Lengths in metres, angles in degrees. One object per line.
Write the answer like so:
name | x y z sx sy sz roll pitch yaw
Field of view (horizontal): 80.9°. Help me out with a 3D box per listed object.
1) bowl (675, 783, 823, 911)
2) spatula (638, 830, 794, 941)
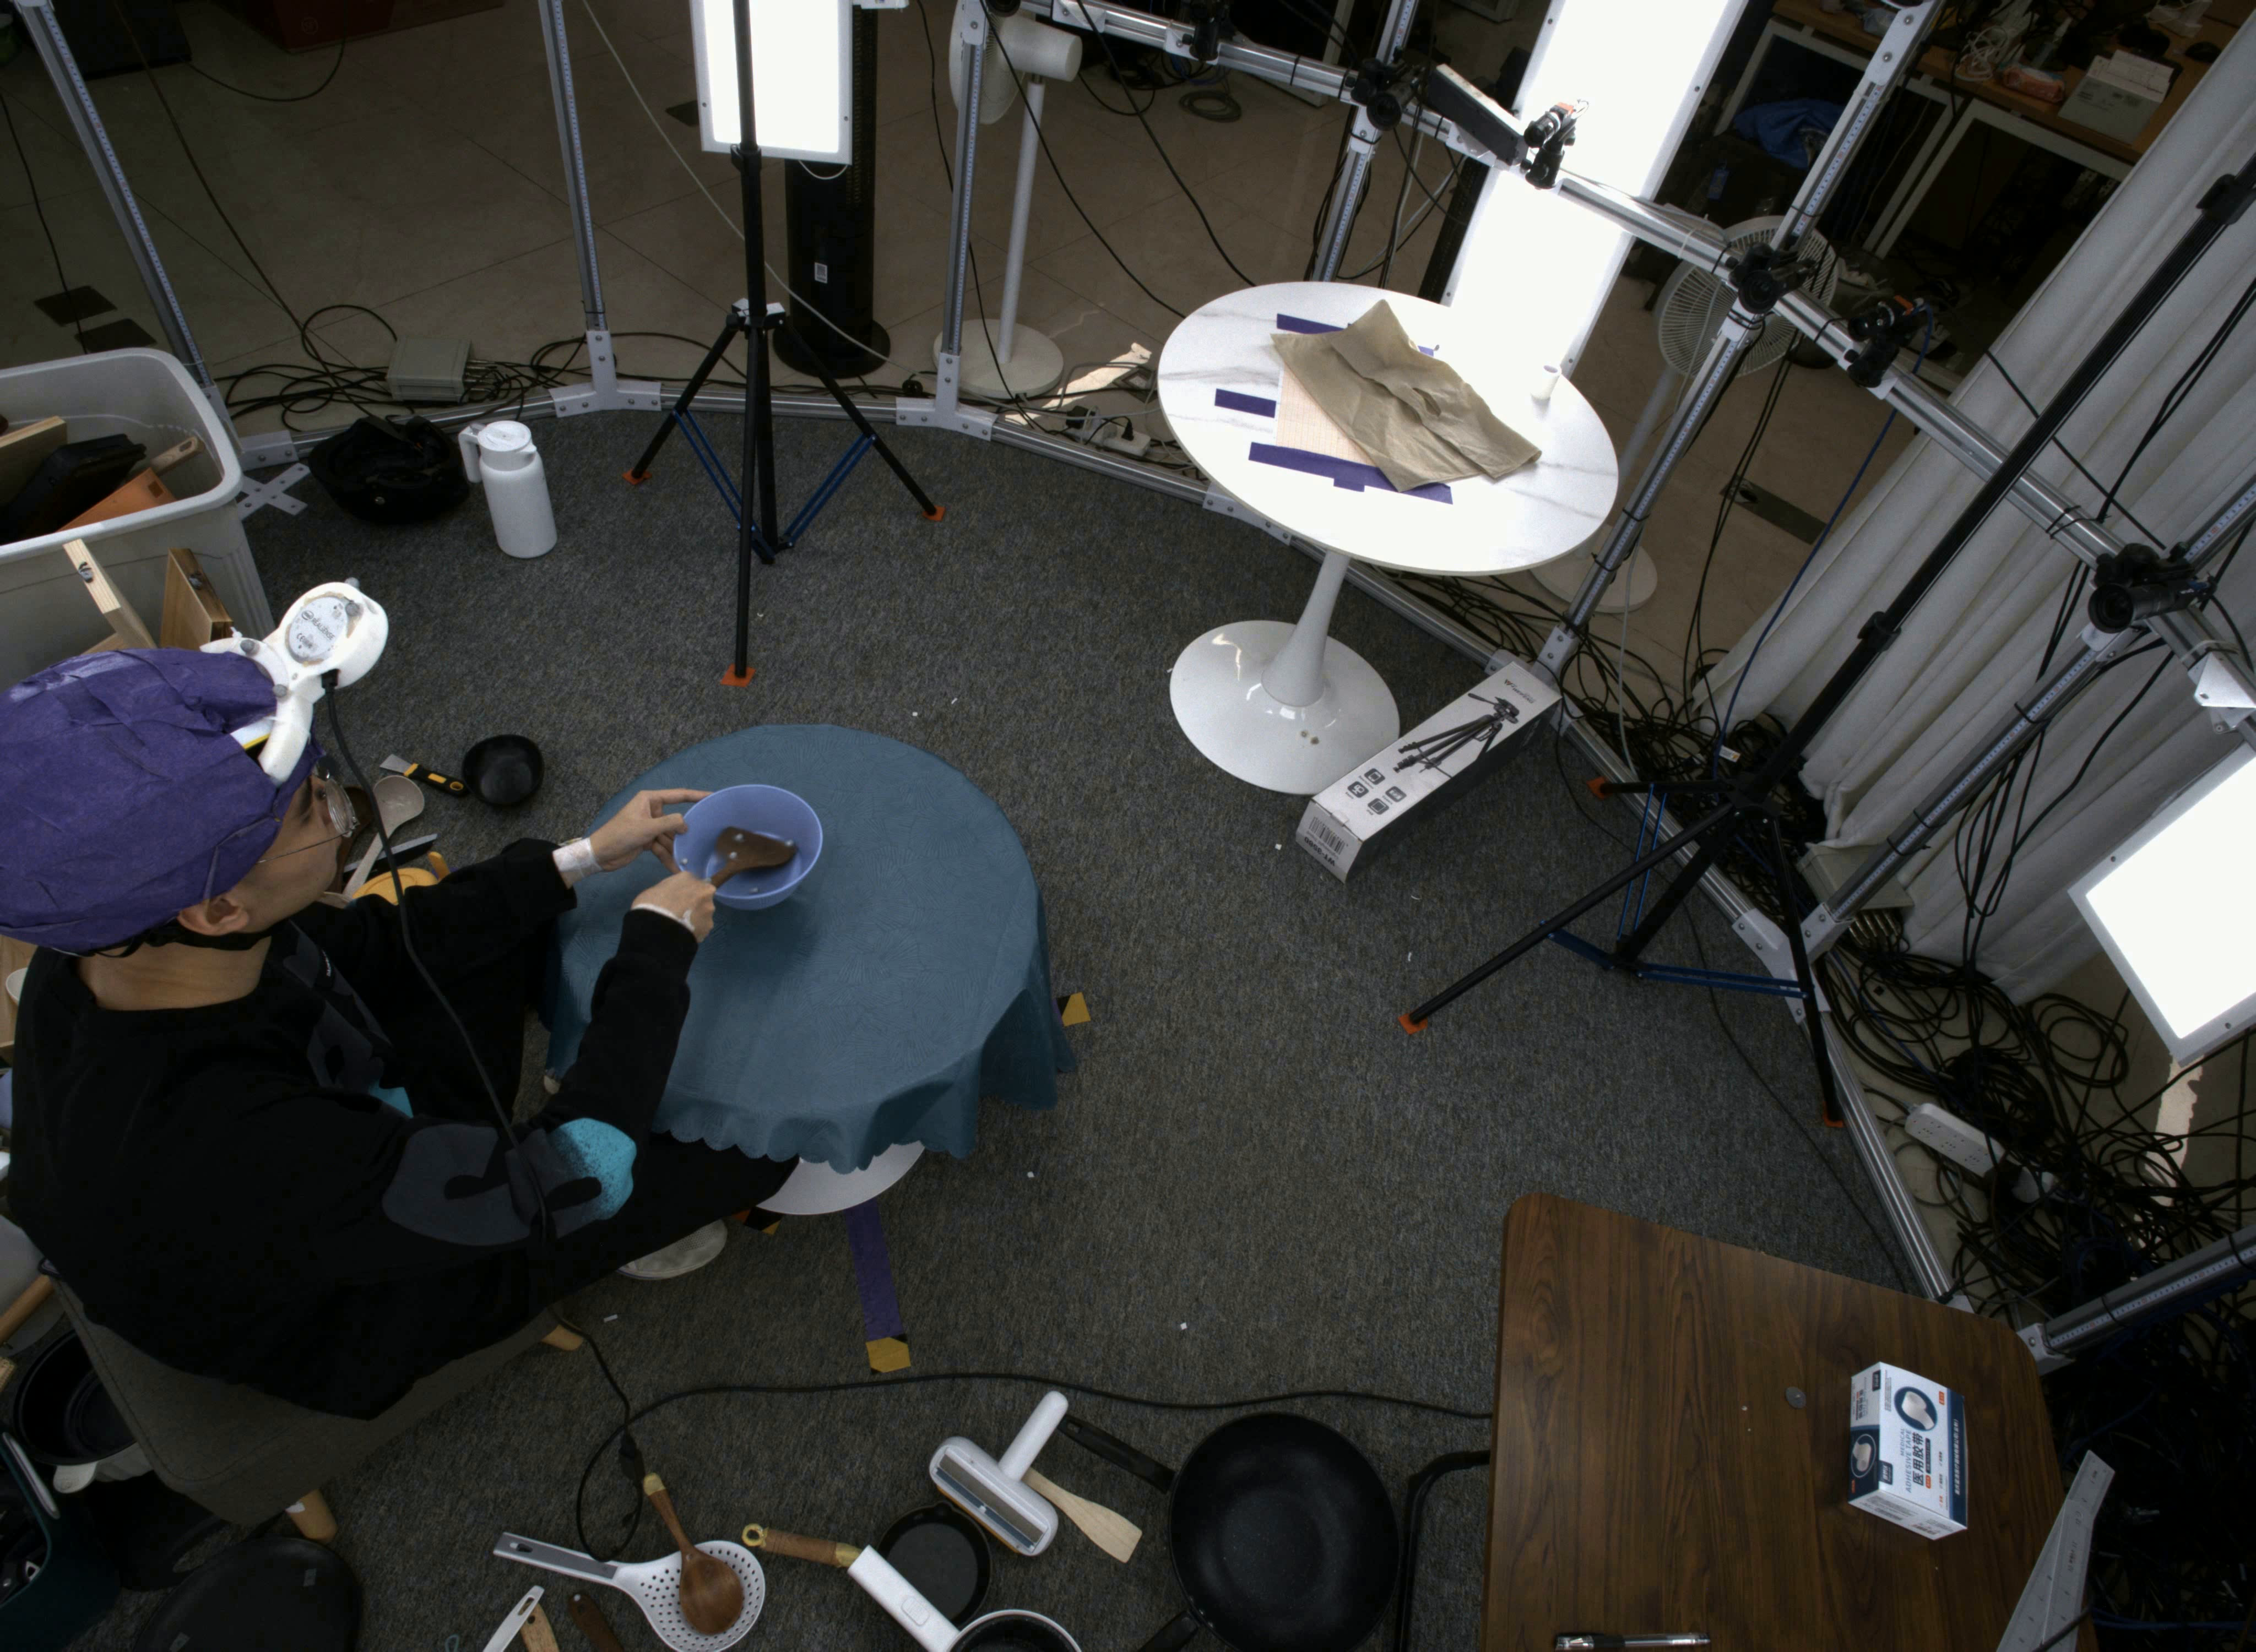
bowl | -0.464 0.036 1.592 0.176 0.071 0.173 8 54 -9
spatula | -0.471 0.061 1.457 0.095 0.016 0.381 19 13 -2
